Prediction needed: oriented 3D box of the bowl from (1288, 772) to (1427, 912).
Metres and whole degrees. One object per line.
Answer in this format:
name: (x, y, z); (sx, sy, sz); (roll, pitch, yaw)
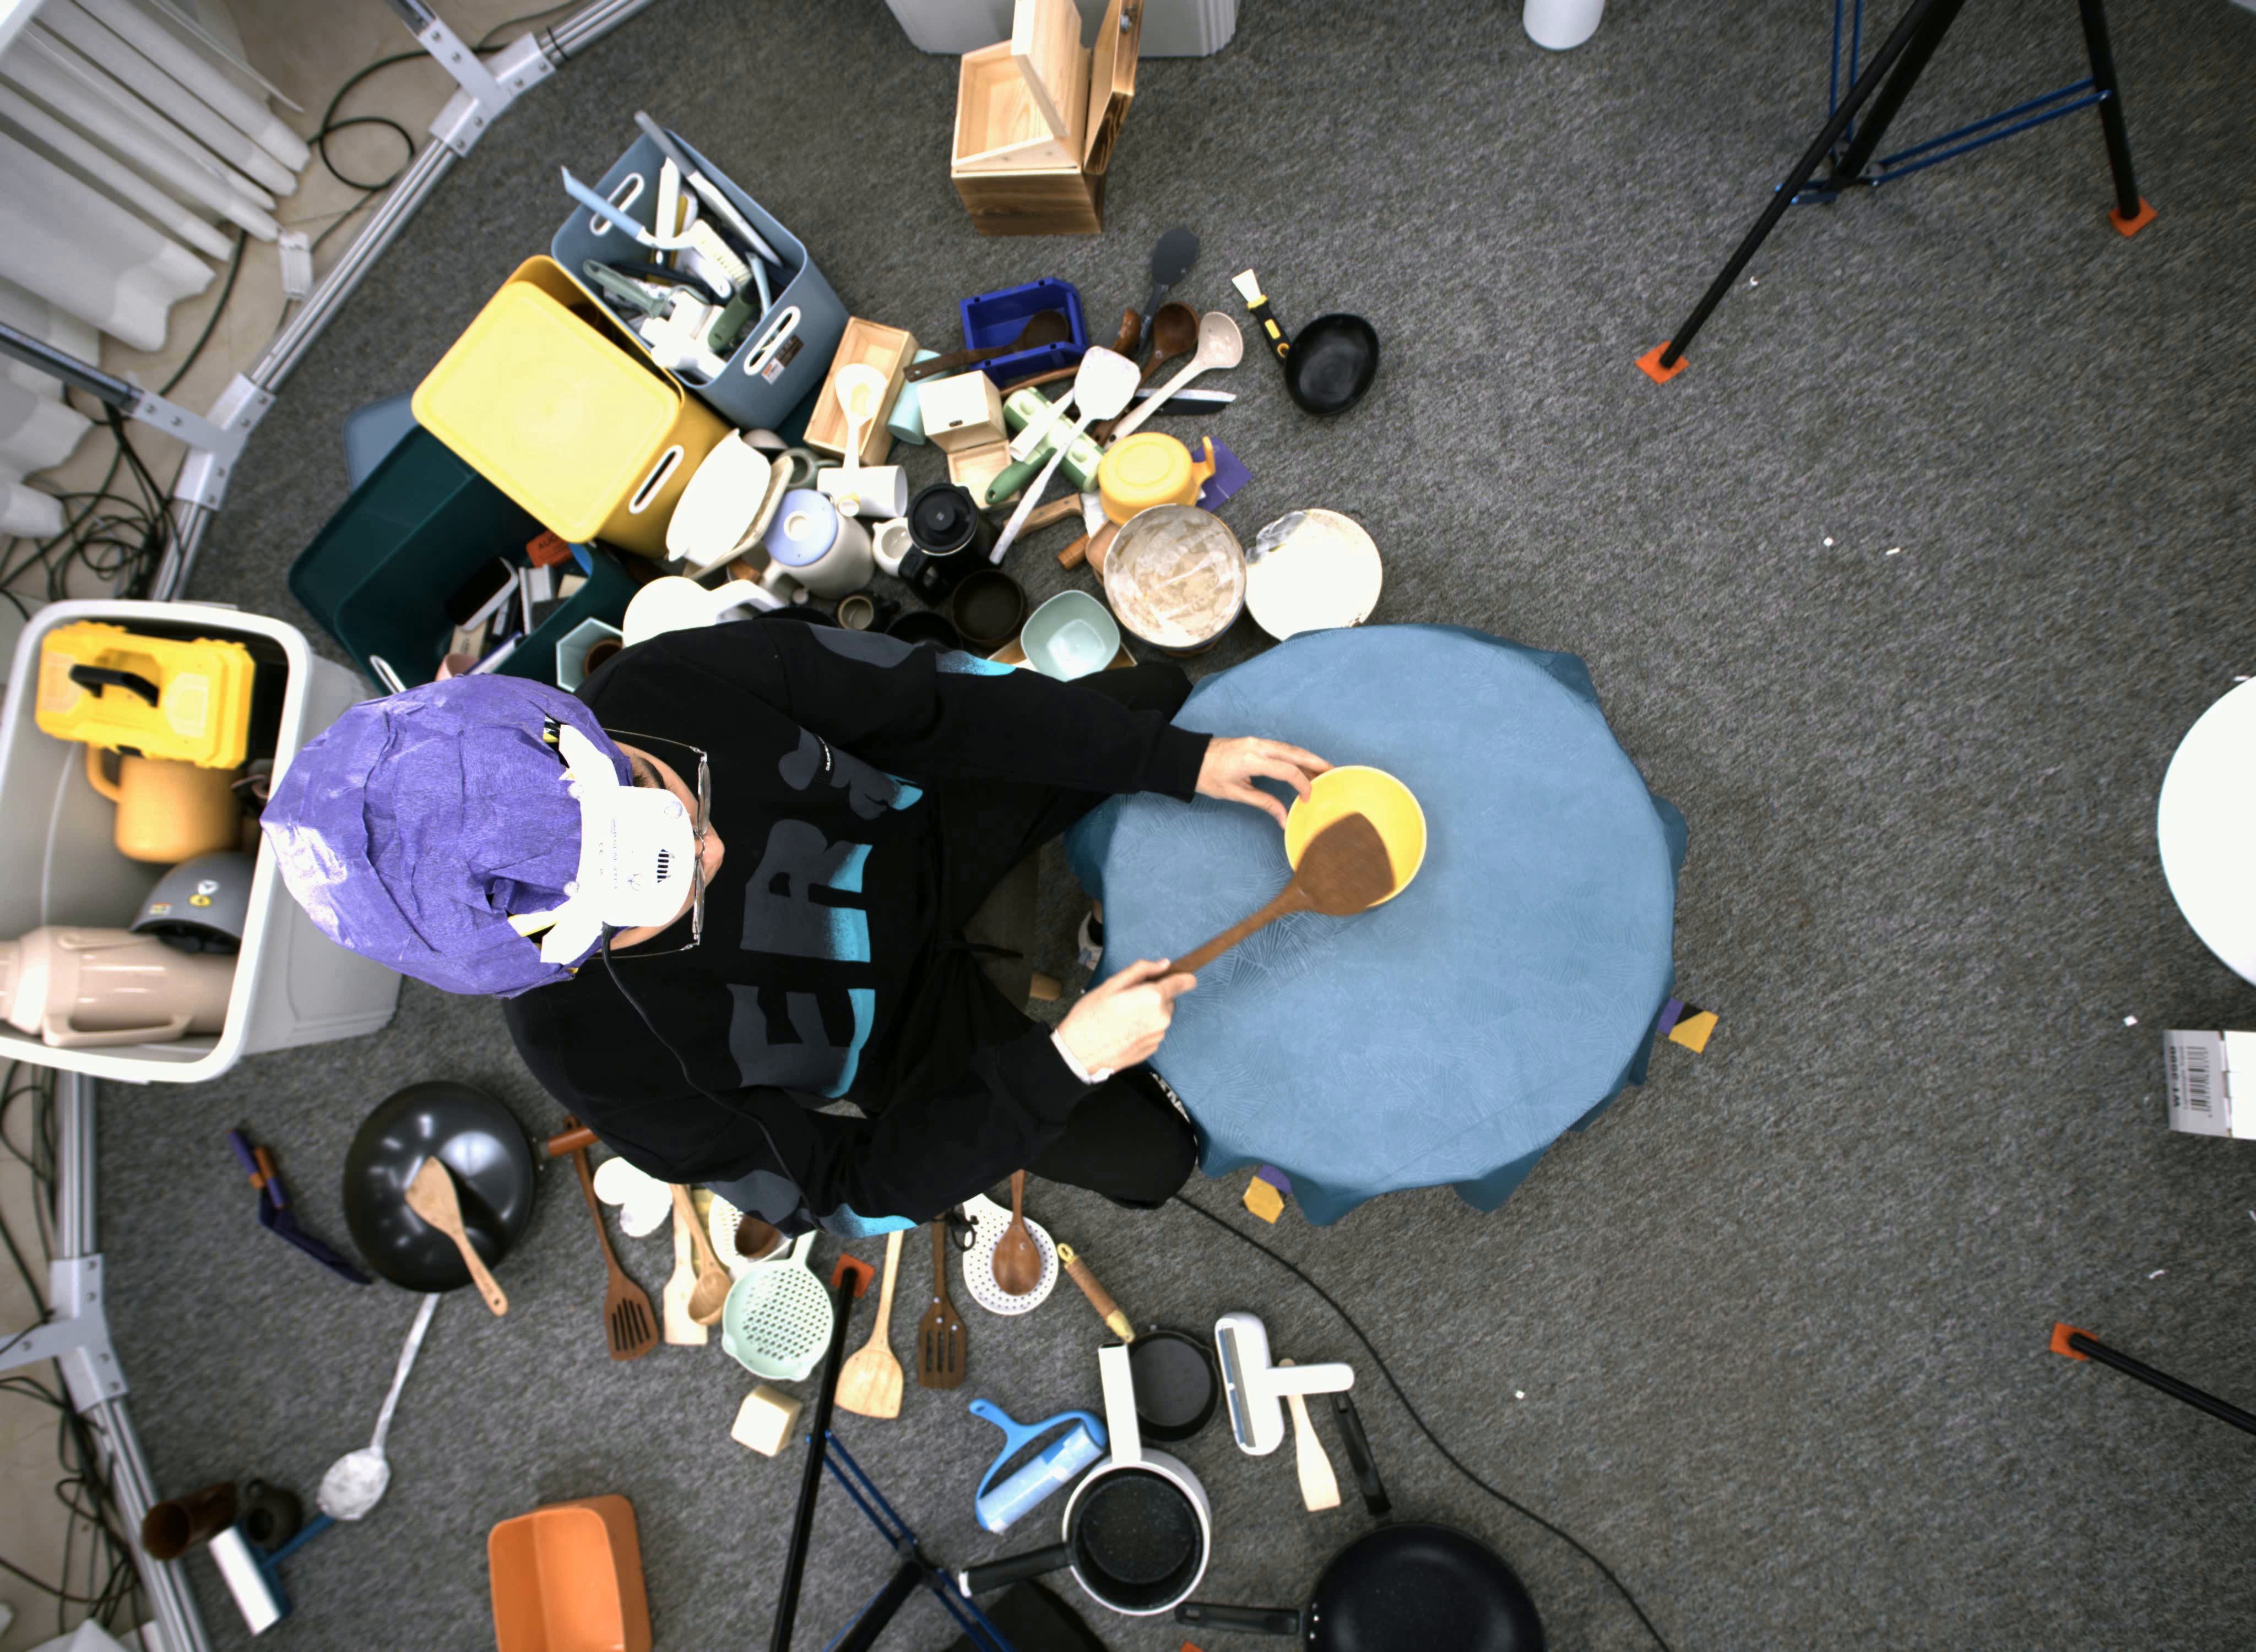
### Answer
bowl: (0.237, 0.017, 1.443); (0.145, 0.060, 0.144); (0, 87, 4)

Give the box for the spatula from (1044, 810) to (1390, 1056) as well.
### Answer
spatula: (0.086, 0.109, 1.303); (0.382, 0.016, 0.097); (-30, 104, -15)
